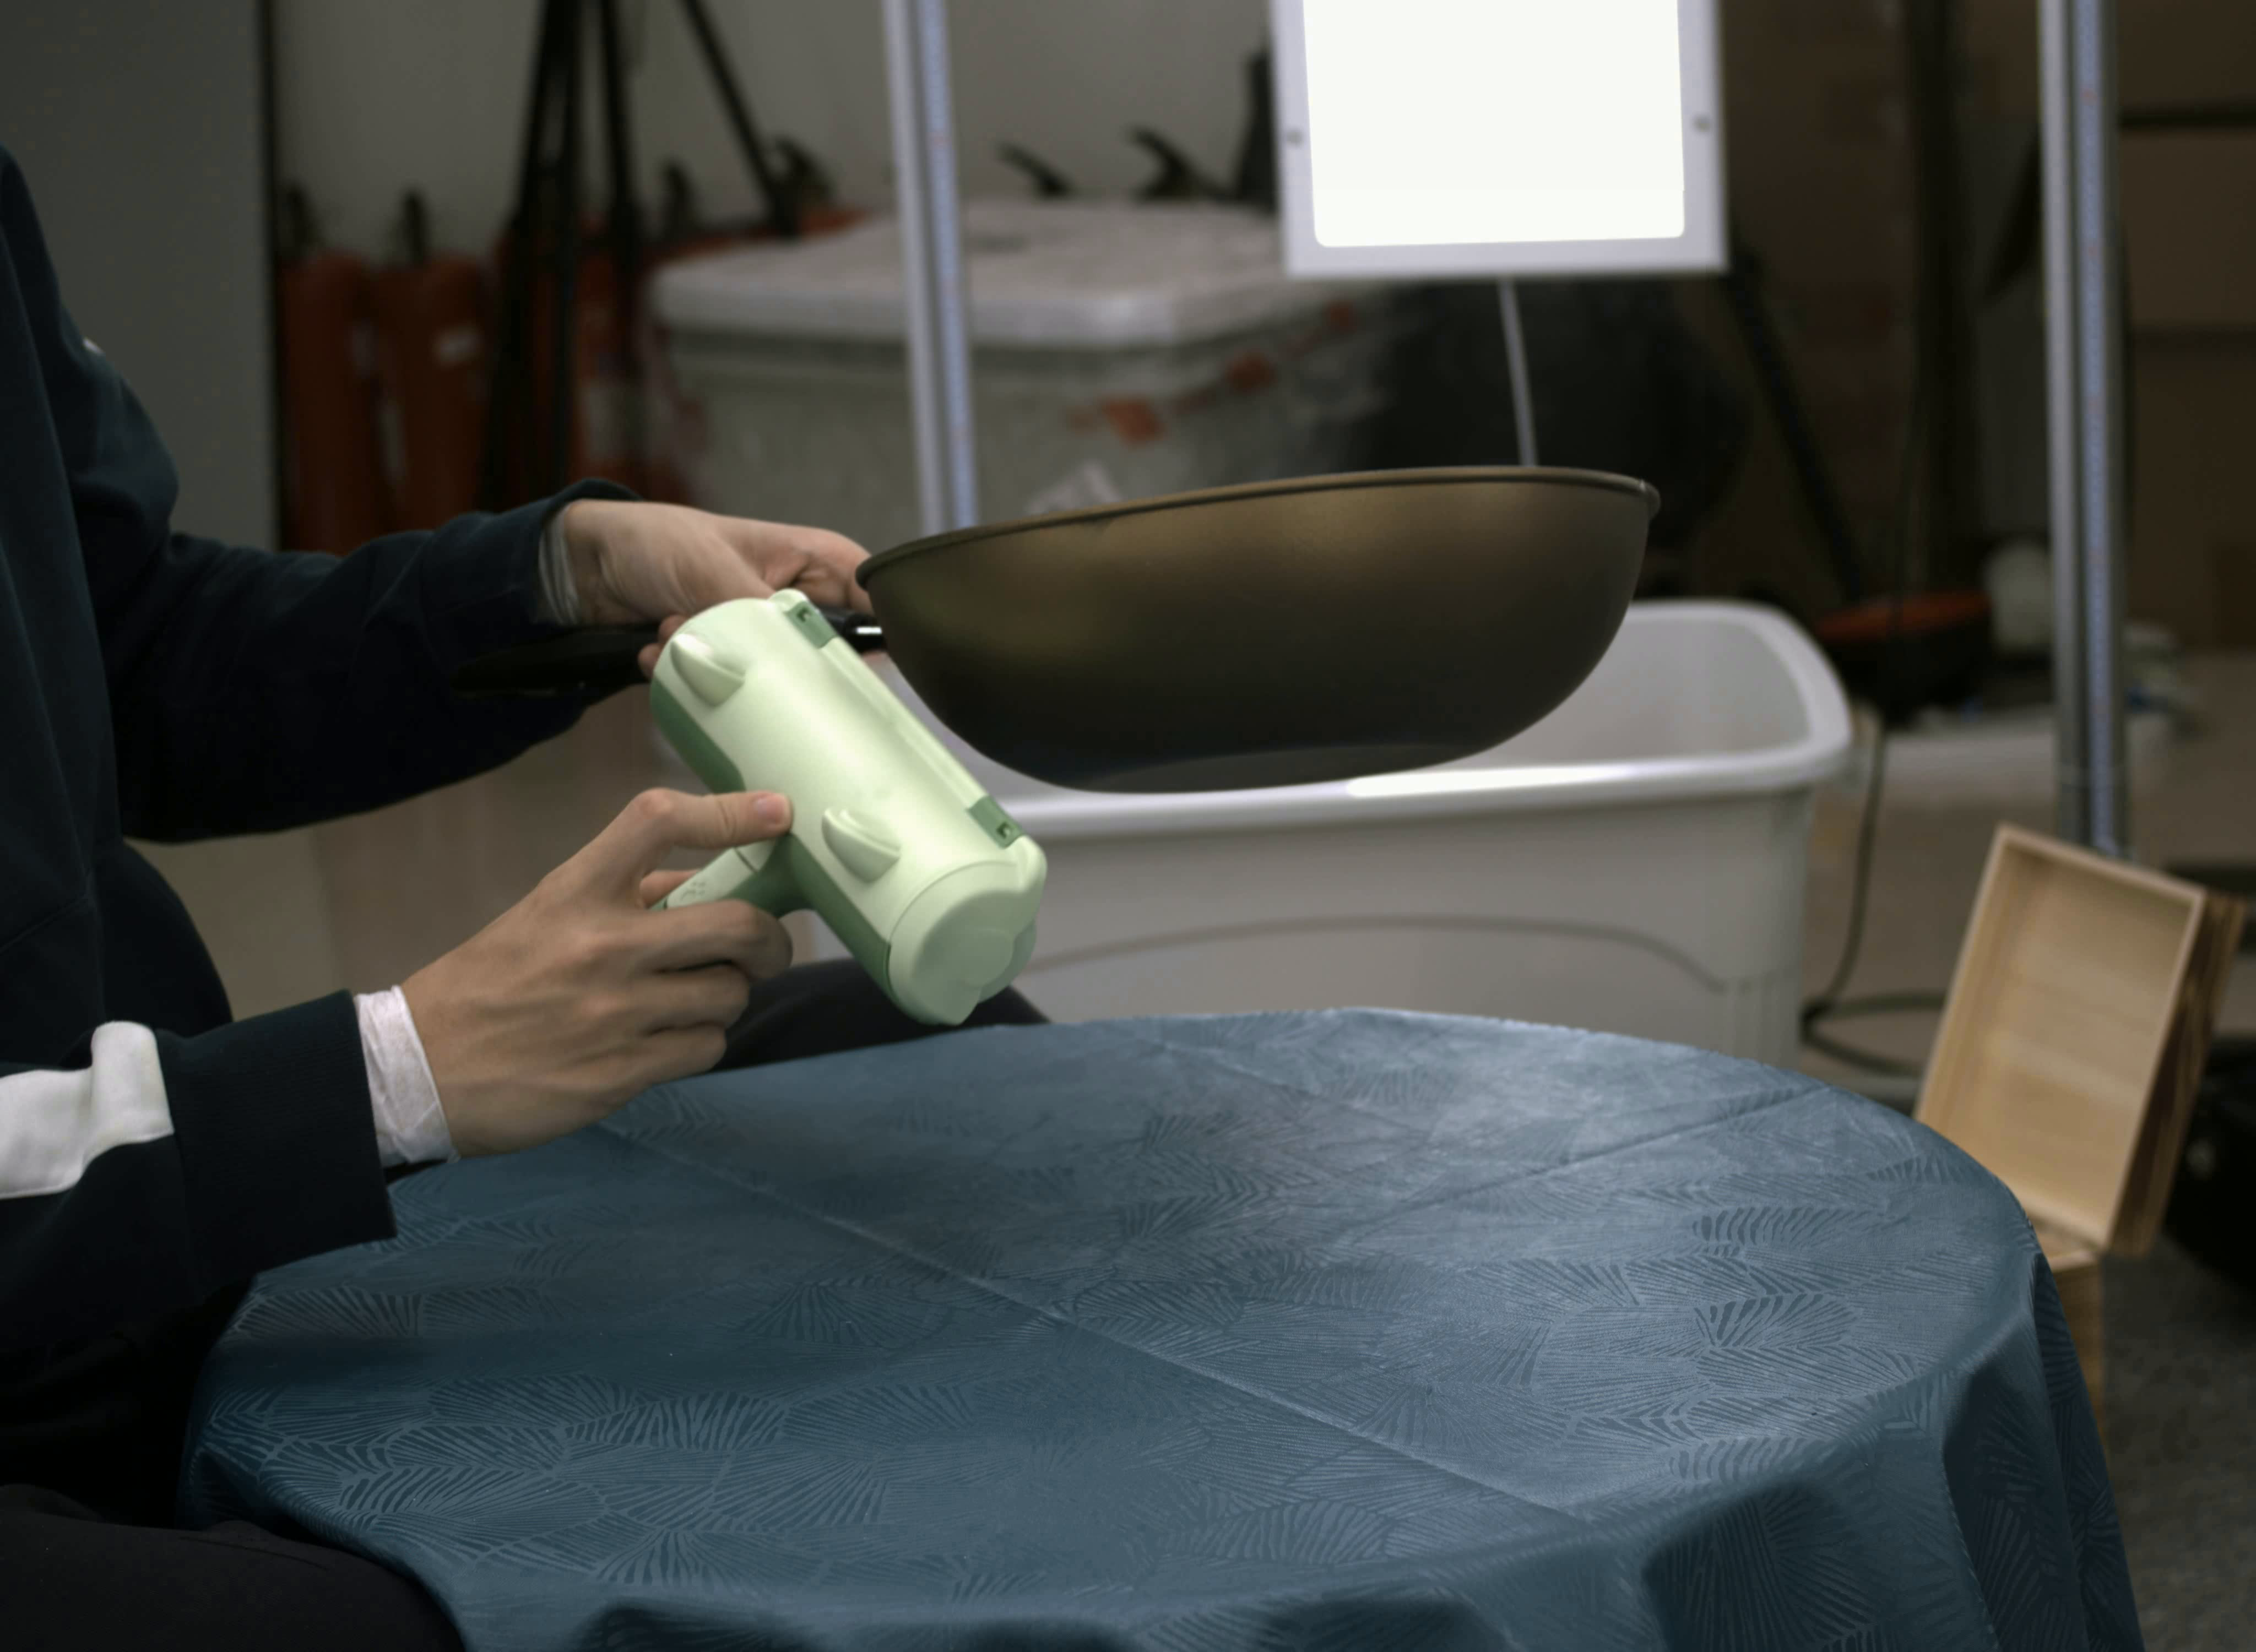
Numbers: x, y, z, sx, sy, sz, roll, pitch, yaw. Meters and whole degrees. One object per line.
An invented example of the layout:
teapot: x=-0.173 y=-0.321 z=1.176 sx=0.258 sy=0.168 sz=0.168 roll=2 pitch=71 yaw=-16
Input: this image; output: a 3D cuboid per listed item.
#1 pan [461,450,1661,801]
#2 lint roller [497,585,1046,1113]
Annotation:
pan: x=-0.034 y=-0.048 z=1.919 sx=0.471 sy=0.087 sz=0.282 roll=-9 pitch=-7 yaw=26
lint roller: x=-0.142 y=0.018 z=1.799 sx=0.182 sy=0.081 sz=0.201 roll=-36 pitch=43 yaw=-6
